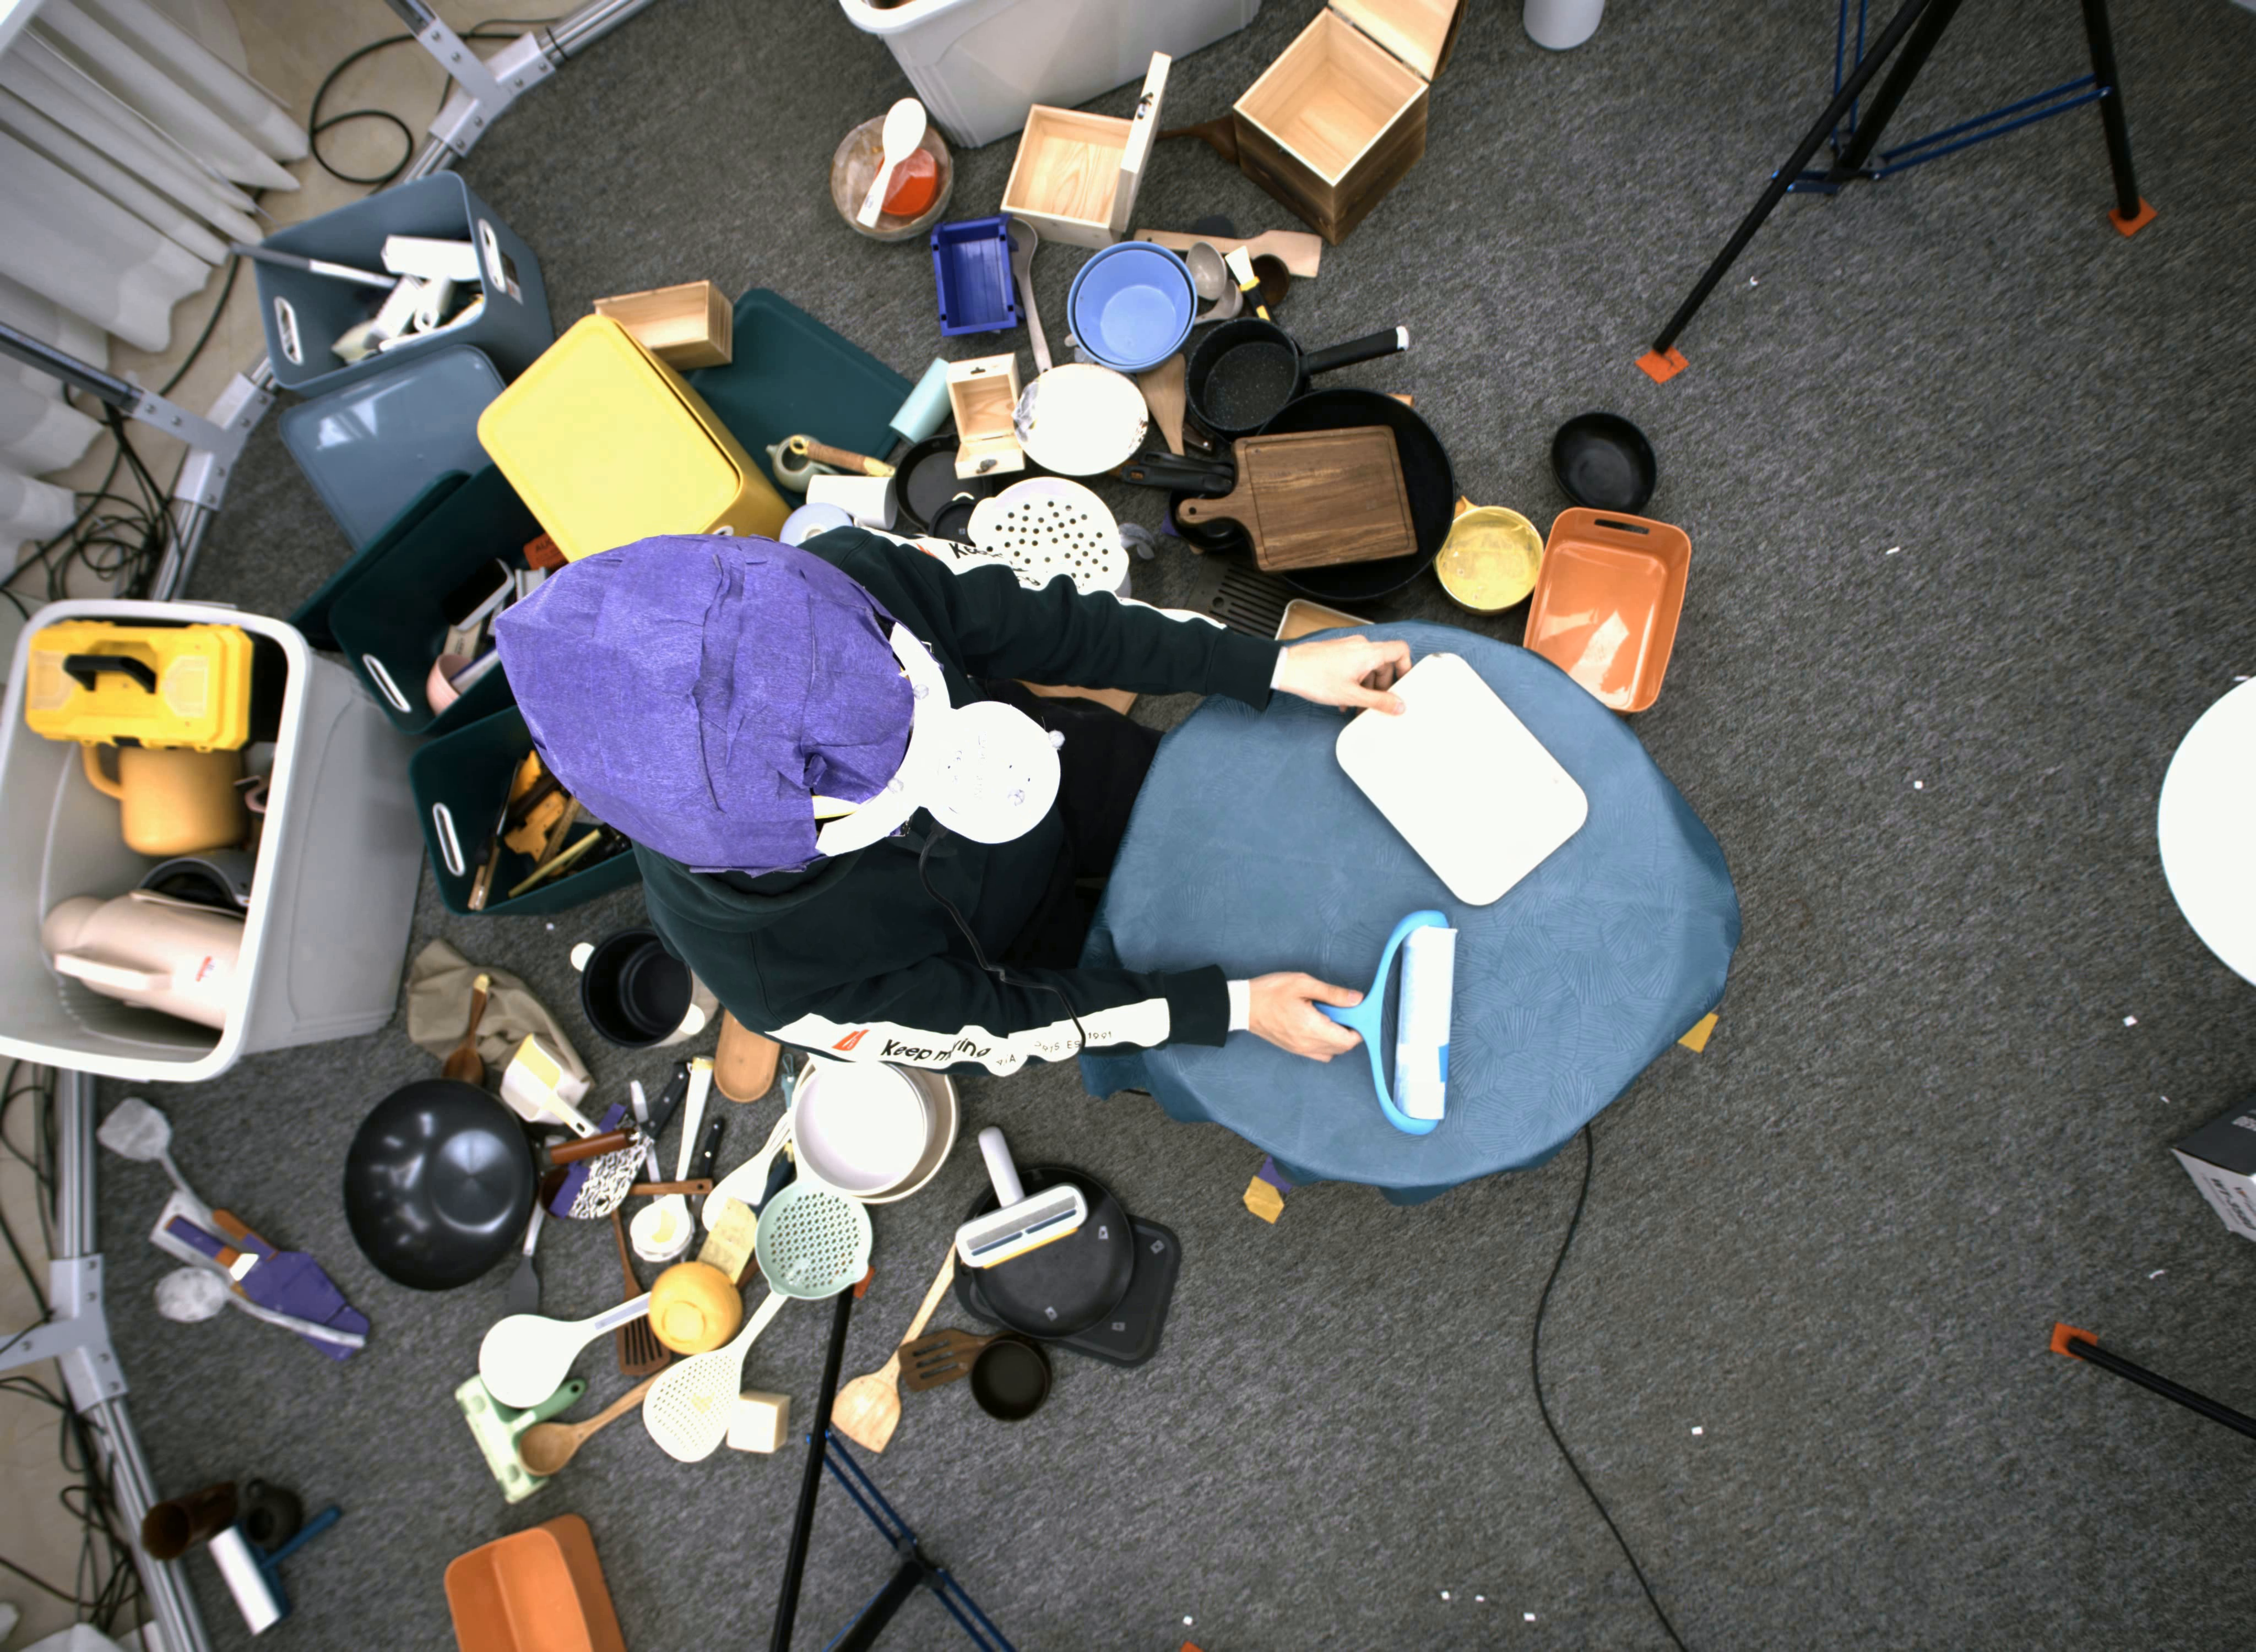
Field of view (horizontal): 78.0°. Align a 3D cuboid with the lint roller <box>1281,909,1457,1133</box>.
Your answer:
[{"bbox_3d":[0.246,0.198,1.424,0.181,0.068,0.228,1,88,9],"label":"lint roller"}]

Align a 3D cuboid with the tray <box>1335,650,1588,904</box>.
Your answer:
[{"bbox_3d":[0.346,-0.053,1.430,0.172,0.017,0.239,-41,86,7],"label":"tray"}]
